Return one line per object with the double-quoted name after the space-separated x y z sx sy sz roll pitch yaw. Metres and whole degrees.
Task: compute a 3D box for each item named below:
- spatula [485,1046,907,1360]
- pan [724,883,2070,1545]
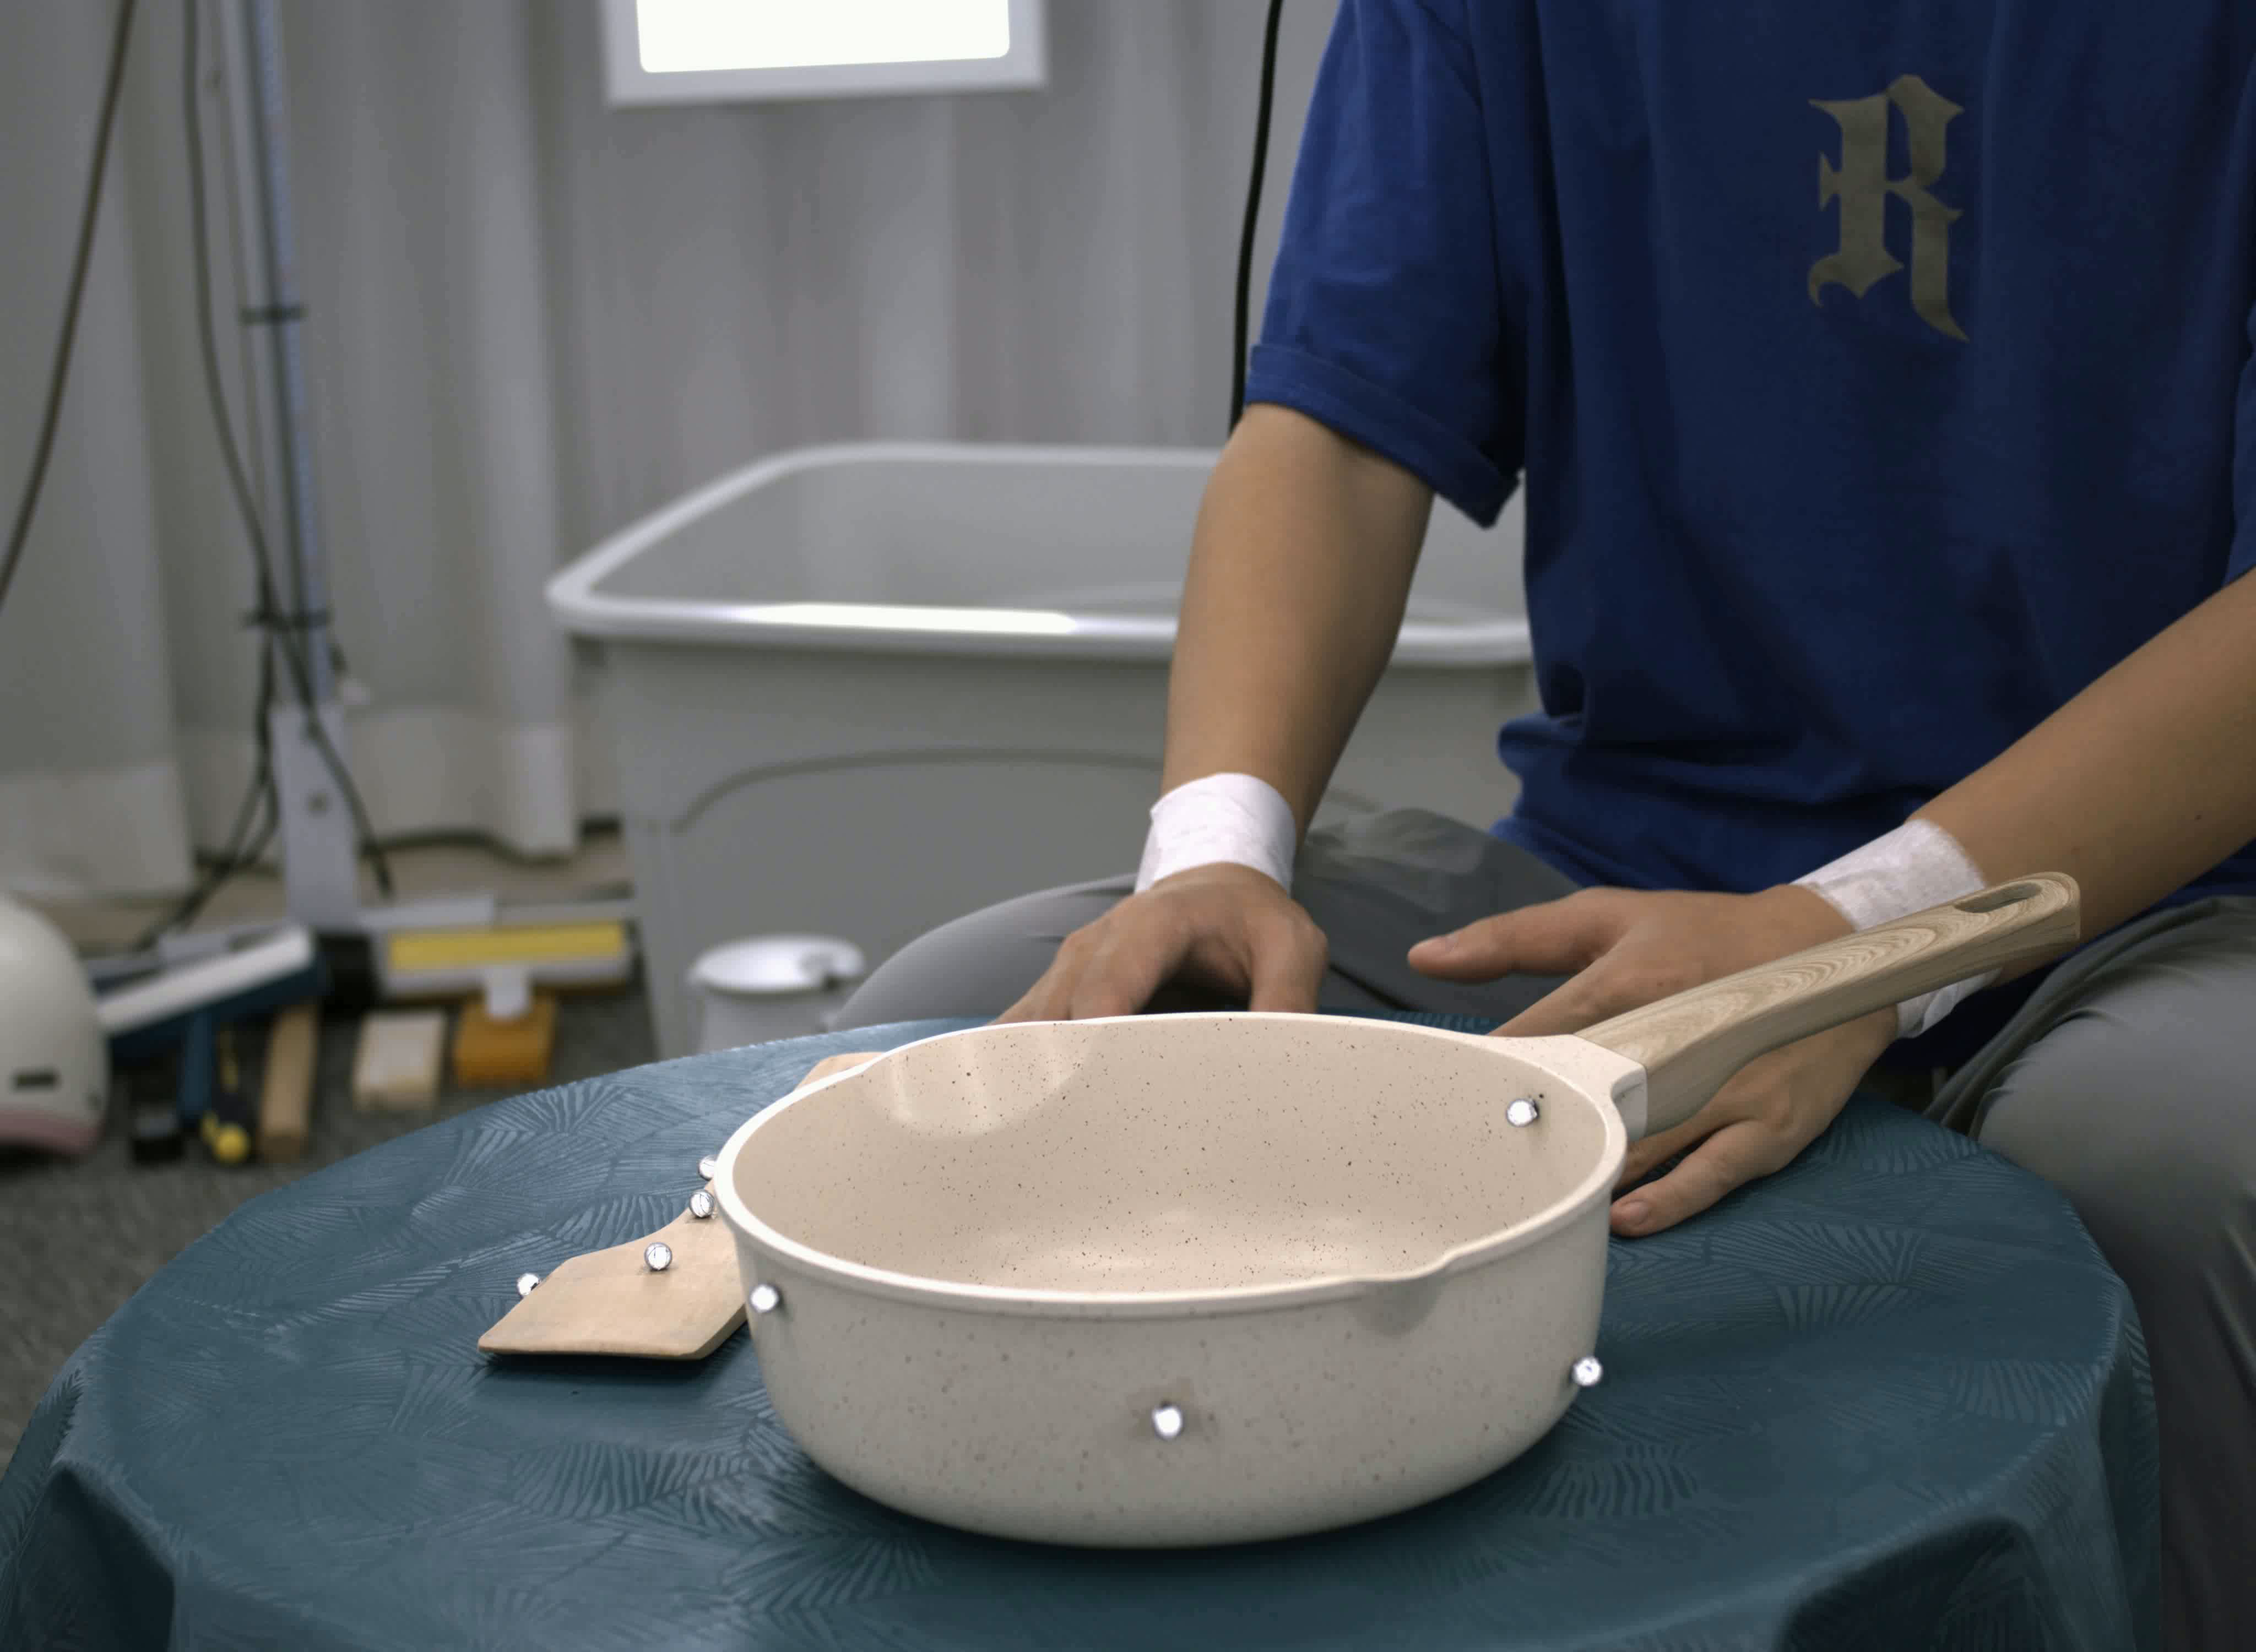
-0.121 0.116 1.711 0.072 0.010 0.294 -1 15 14 "spatula"
0.095 0.103 1.542 0.433 0.101 0.265 -11 15 -28 "pan"
